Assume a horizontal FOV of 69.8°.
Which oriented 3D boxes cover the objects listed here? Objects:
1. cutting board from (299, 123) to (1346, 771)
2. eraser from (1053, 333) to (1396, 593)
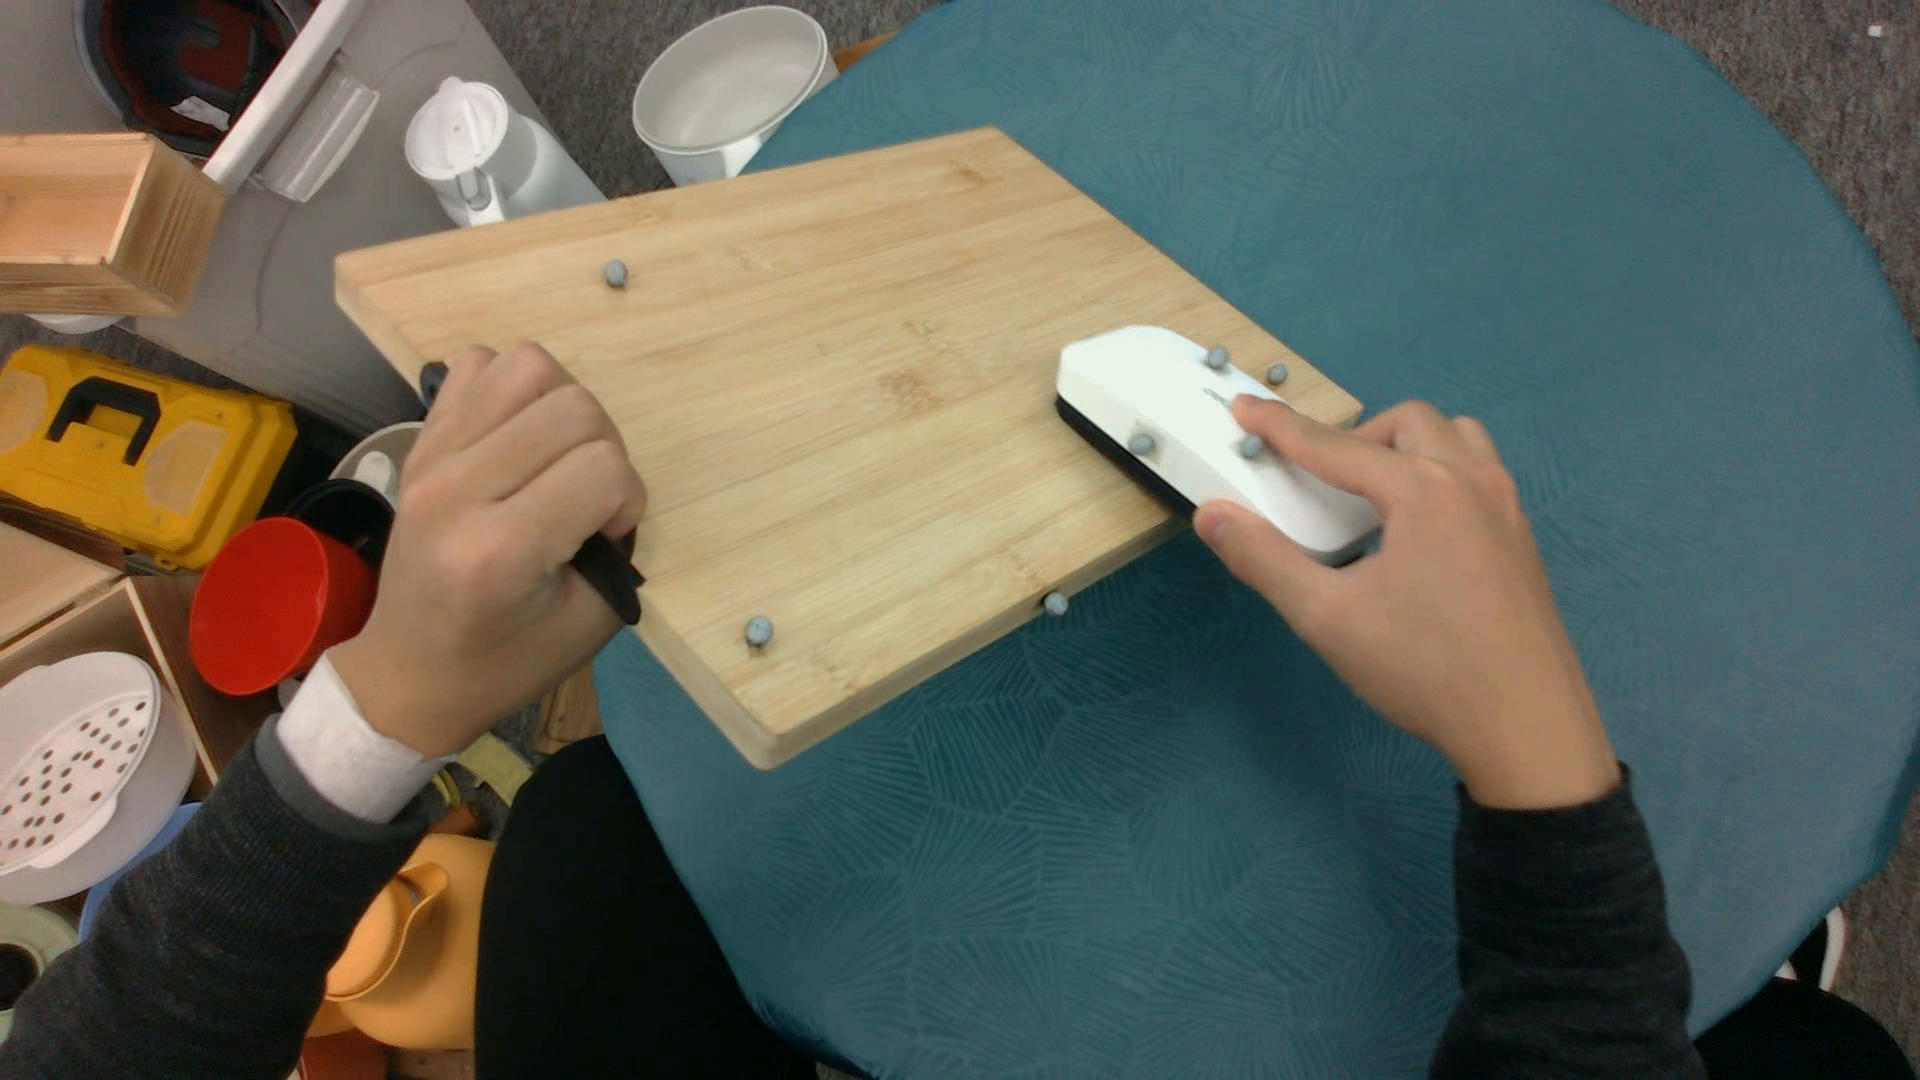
[{"bbox_3d":[-0.028,-0.072,0.541,0.251,0.023,0.350,42,44,22],"label":"cutting board"},{"bbox_3d":[0.093,-0.034,0.508,0.063,0.034,0.131,-22,50,-38],"label":"eraser"}]
